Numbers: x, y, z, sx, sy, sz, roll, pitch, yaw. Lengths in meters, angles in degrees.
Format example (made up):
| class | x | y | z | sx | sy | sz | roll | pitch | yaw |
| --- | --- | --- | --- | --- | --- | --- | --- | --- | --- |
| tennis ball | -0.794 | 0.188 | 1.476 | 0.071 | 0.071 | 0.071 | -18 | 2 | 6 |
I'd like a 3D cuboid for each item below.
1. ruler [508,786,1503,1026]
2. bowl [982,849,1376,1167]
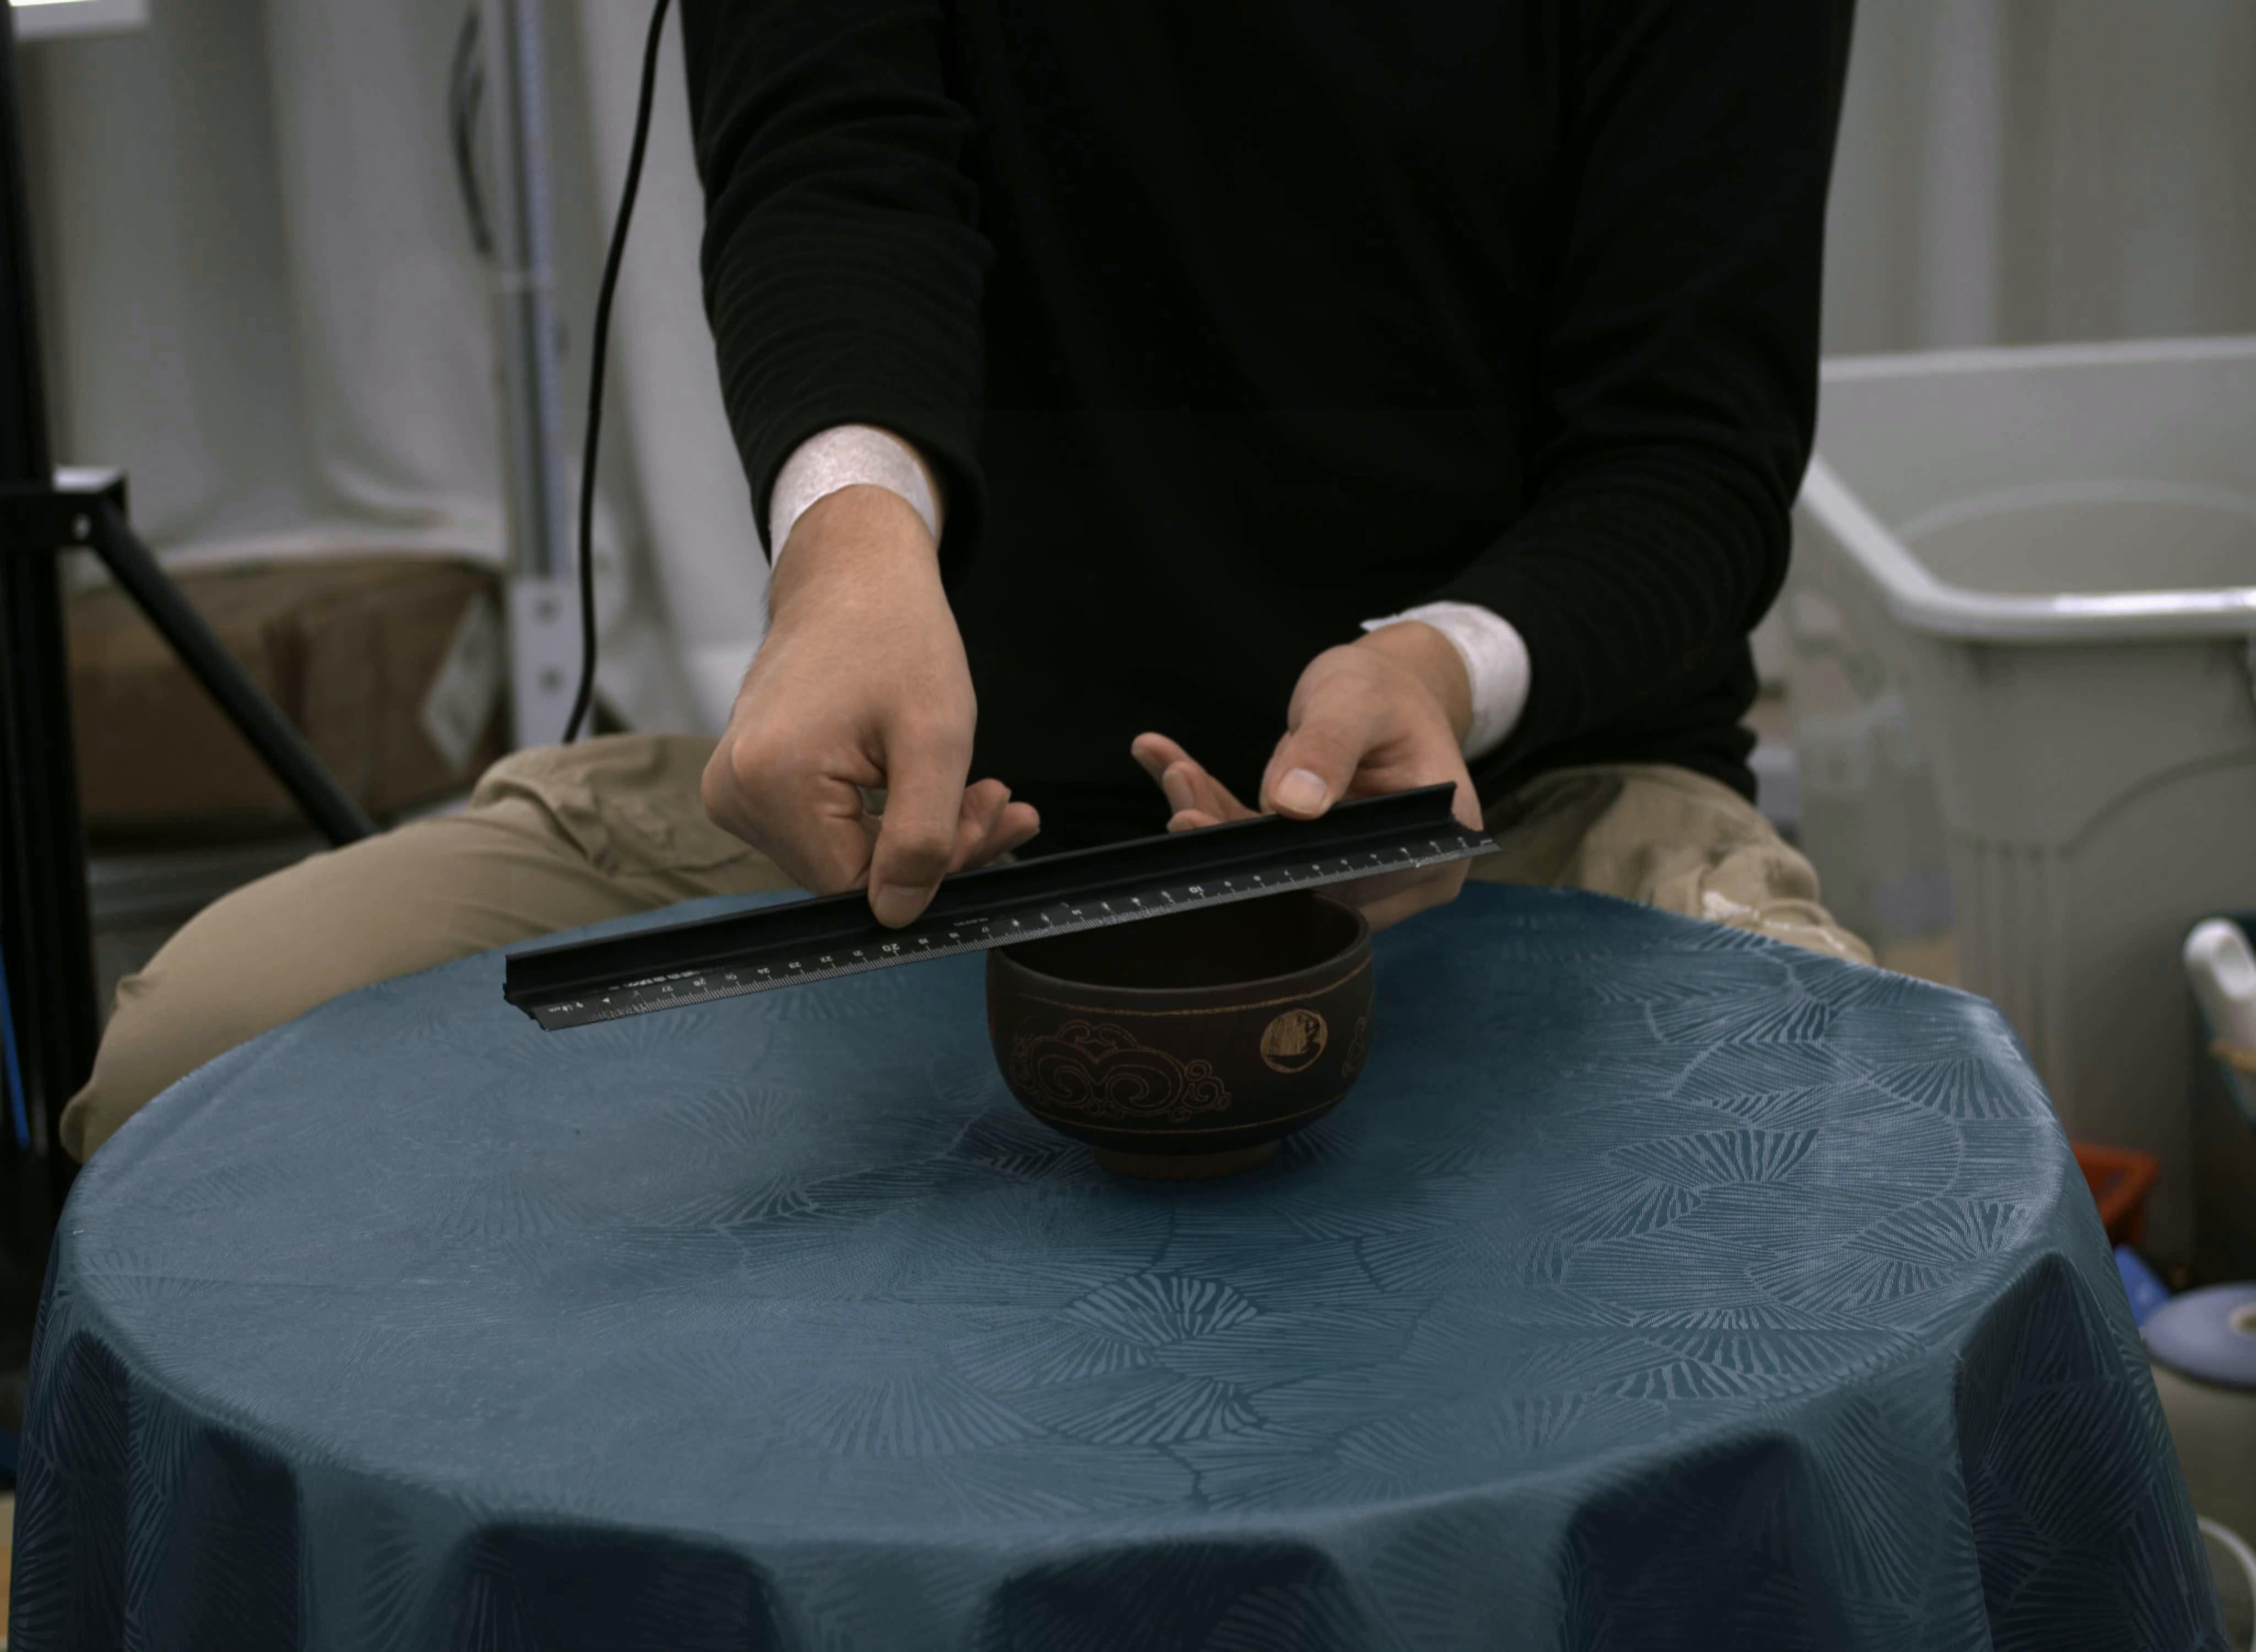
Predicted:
| class | x | y | z | sx | sy | sz | roll | pitch | yaw |
| --- | --- | --- | --- | --- | --- | --- | --- | --- | --- |
| ruler | -0.033 | 0.023 | 1.587 | 0.307 | 0.017 | 0.040 | -10 | 20 | -20 |
| bowl | 0.016 | 0.059 | 1.583 | 0.117 | 0.070 | 0.119 | -2 | 20 | -1 |
